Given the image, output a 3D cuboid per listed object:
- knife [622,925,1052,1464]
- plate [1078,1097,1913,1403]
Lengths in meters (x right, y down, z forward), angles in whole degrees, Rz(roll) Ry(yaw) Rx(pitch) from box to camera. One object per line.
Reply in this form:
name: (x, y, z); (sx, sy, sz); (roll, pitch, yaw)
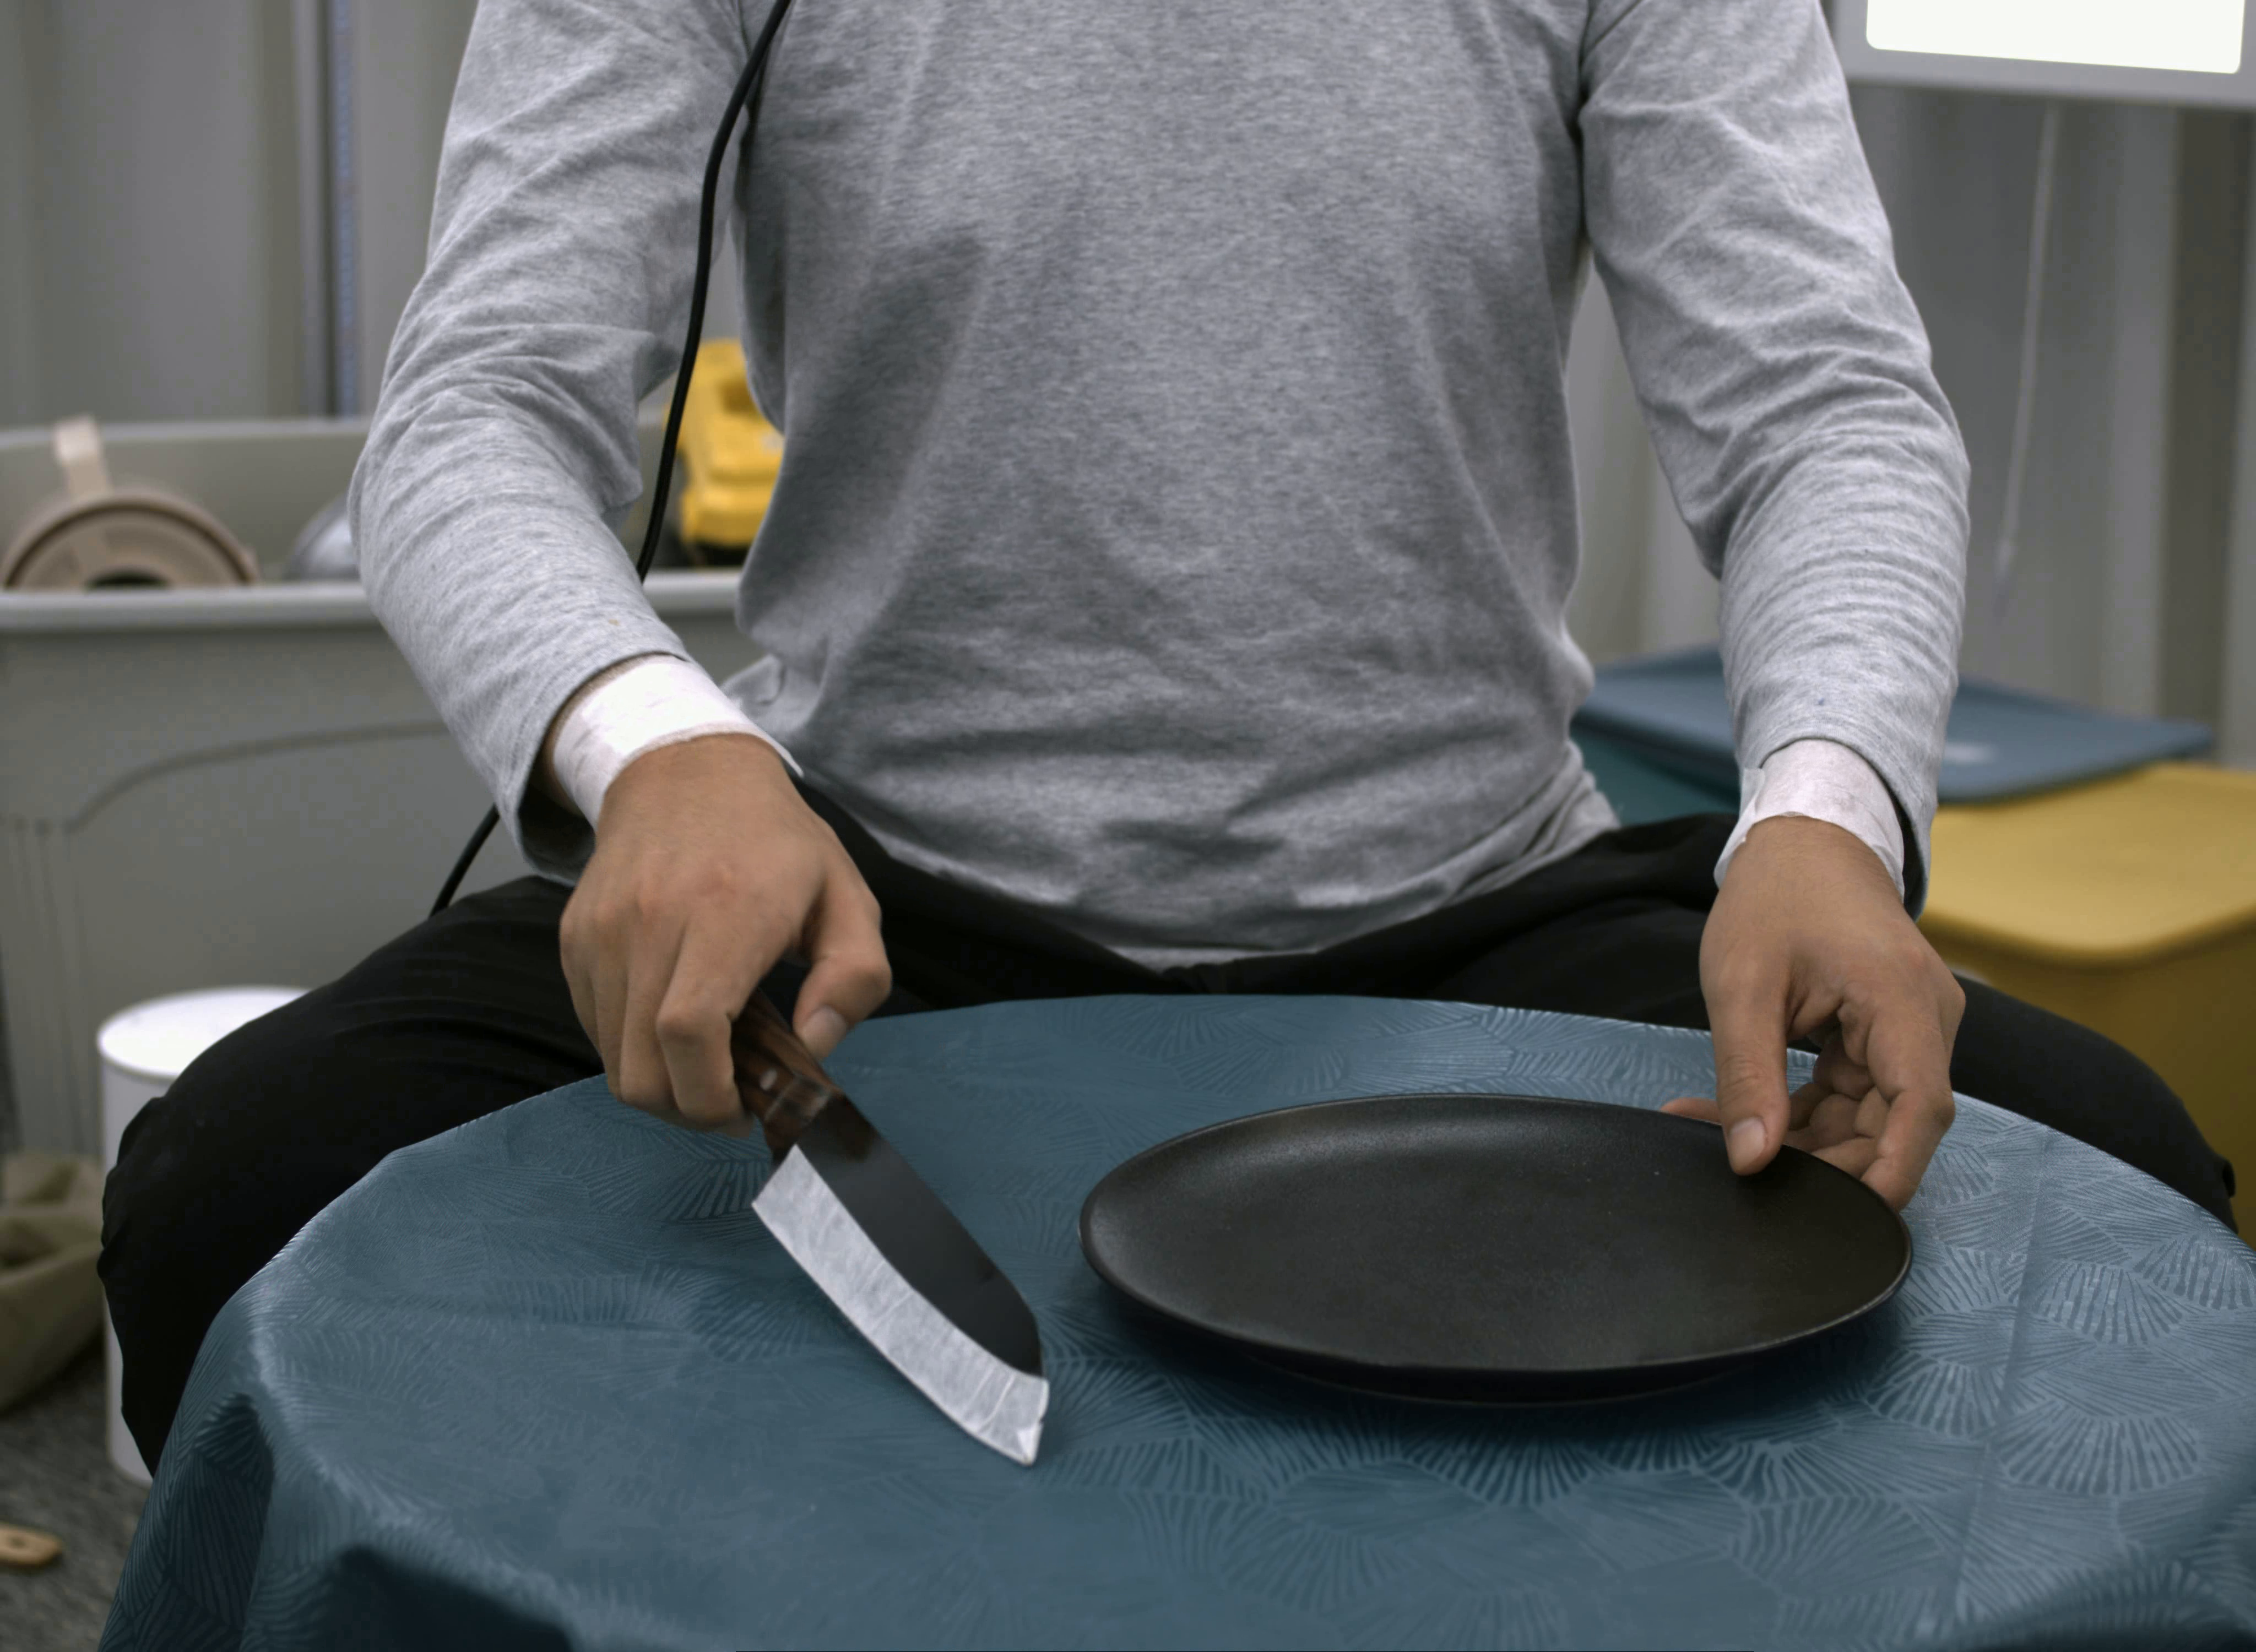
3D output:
knife: (-0.085, 0.102, 1.514); (0.020, 0.050, 0.285); (32, 9, -38)
plate: (0.106, 0.126, 1.538); (0.243, 0.023, 0.243); (1, 15, 0)
